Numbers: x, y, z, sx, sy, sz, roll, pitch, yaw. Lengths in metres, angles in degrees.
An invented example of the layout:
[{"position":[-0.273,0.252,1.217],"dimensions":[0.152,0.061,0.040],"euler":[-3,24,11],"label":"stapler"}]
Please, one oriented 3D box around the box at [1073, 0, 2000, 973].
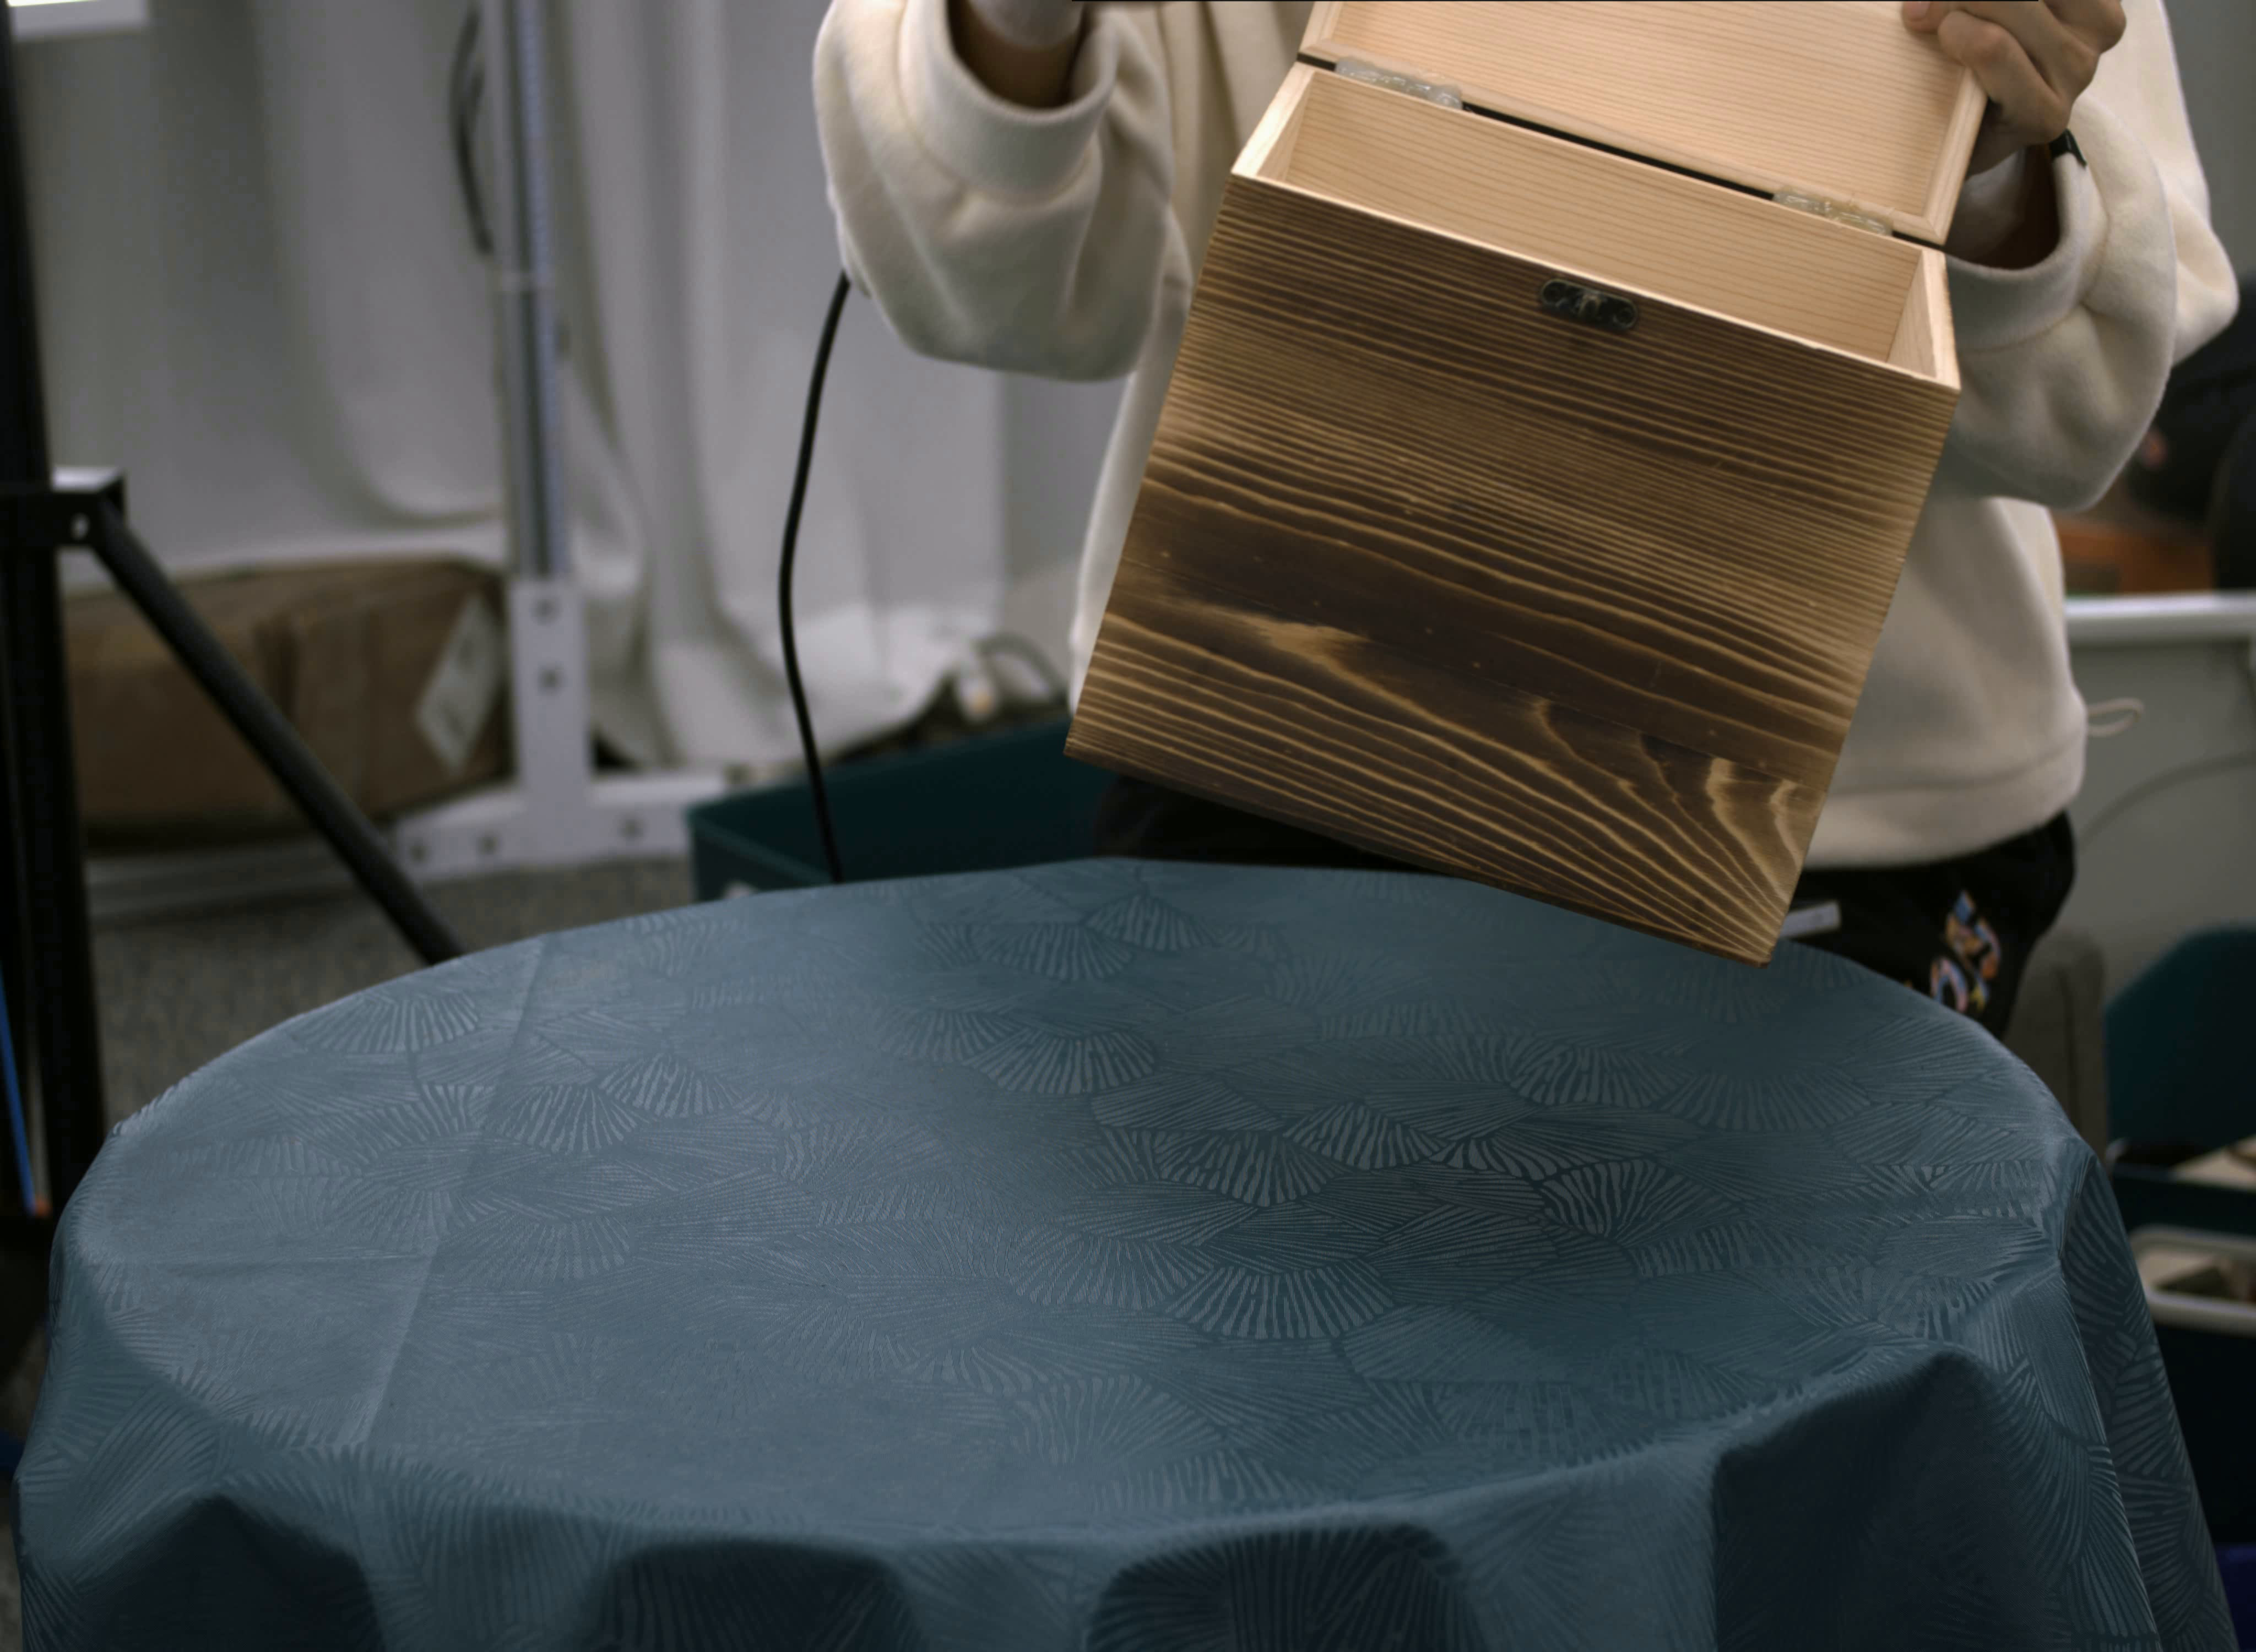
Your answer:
[{"position":[0.142,-0.195,1.524],"dimensions":[0.208,0.376,0.321],"euler":[17,16,3],"label":"box"}]
